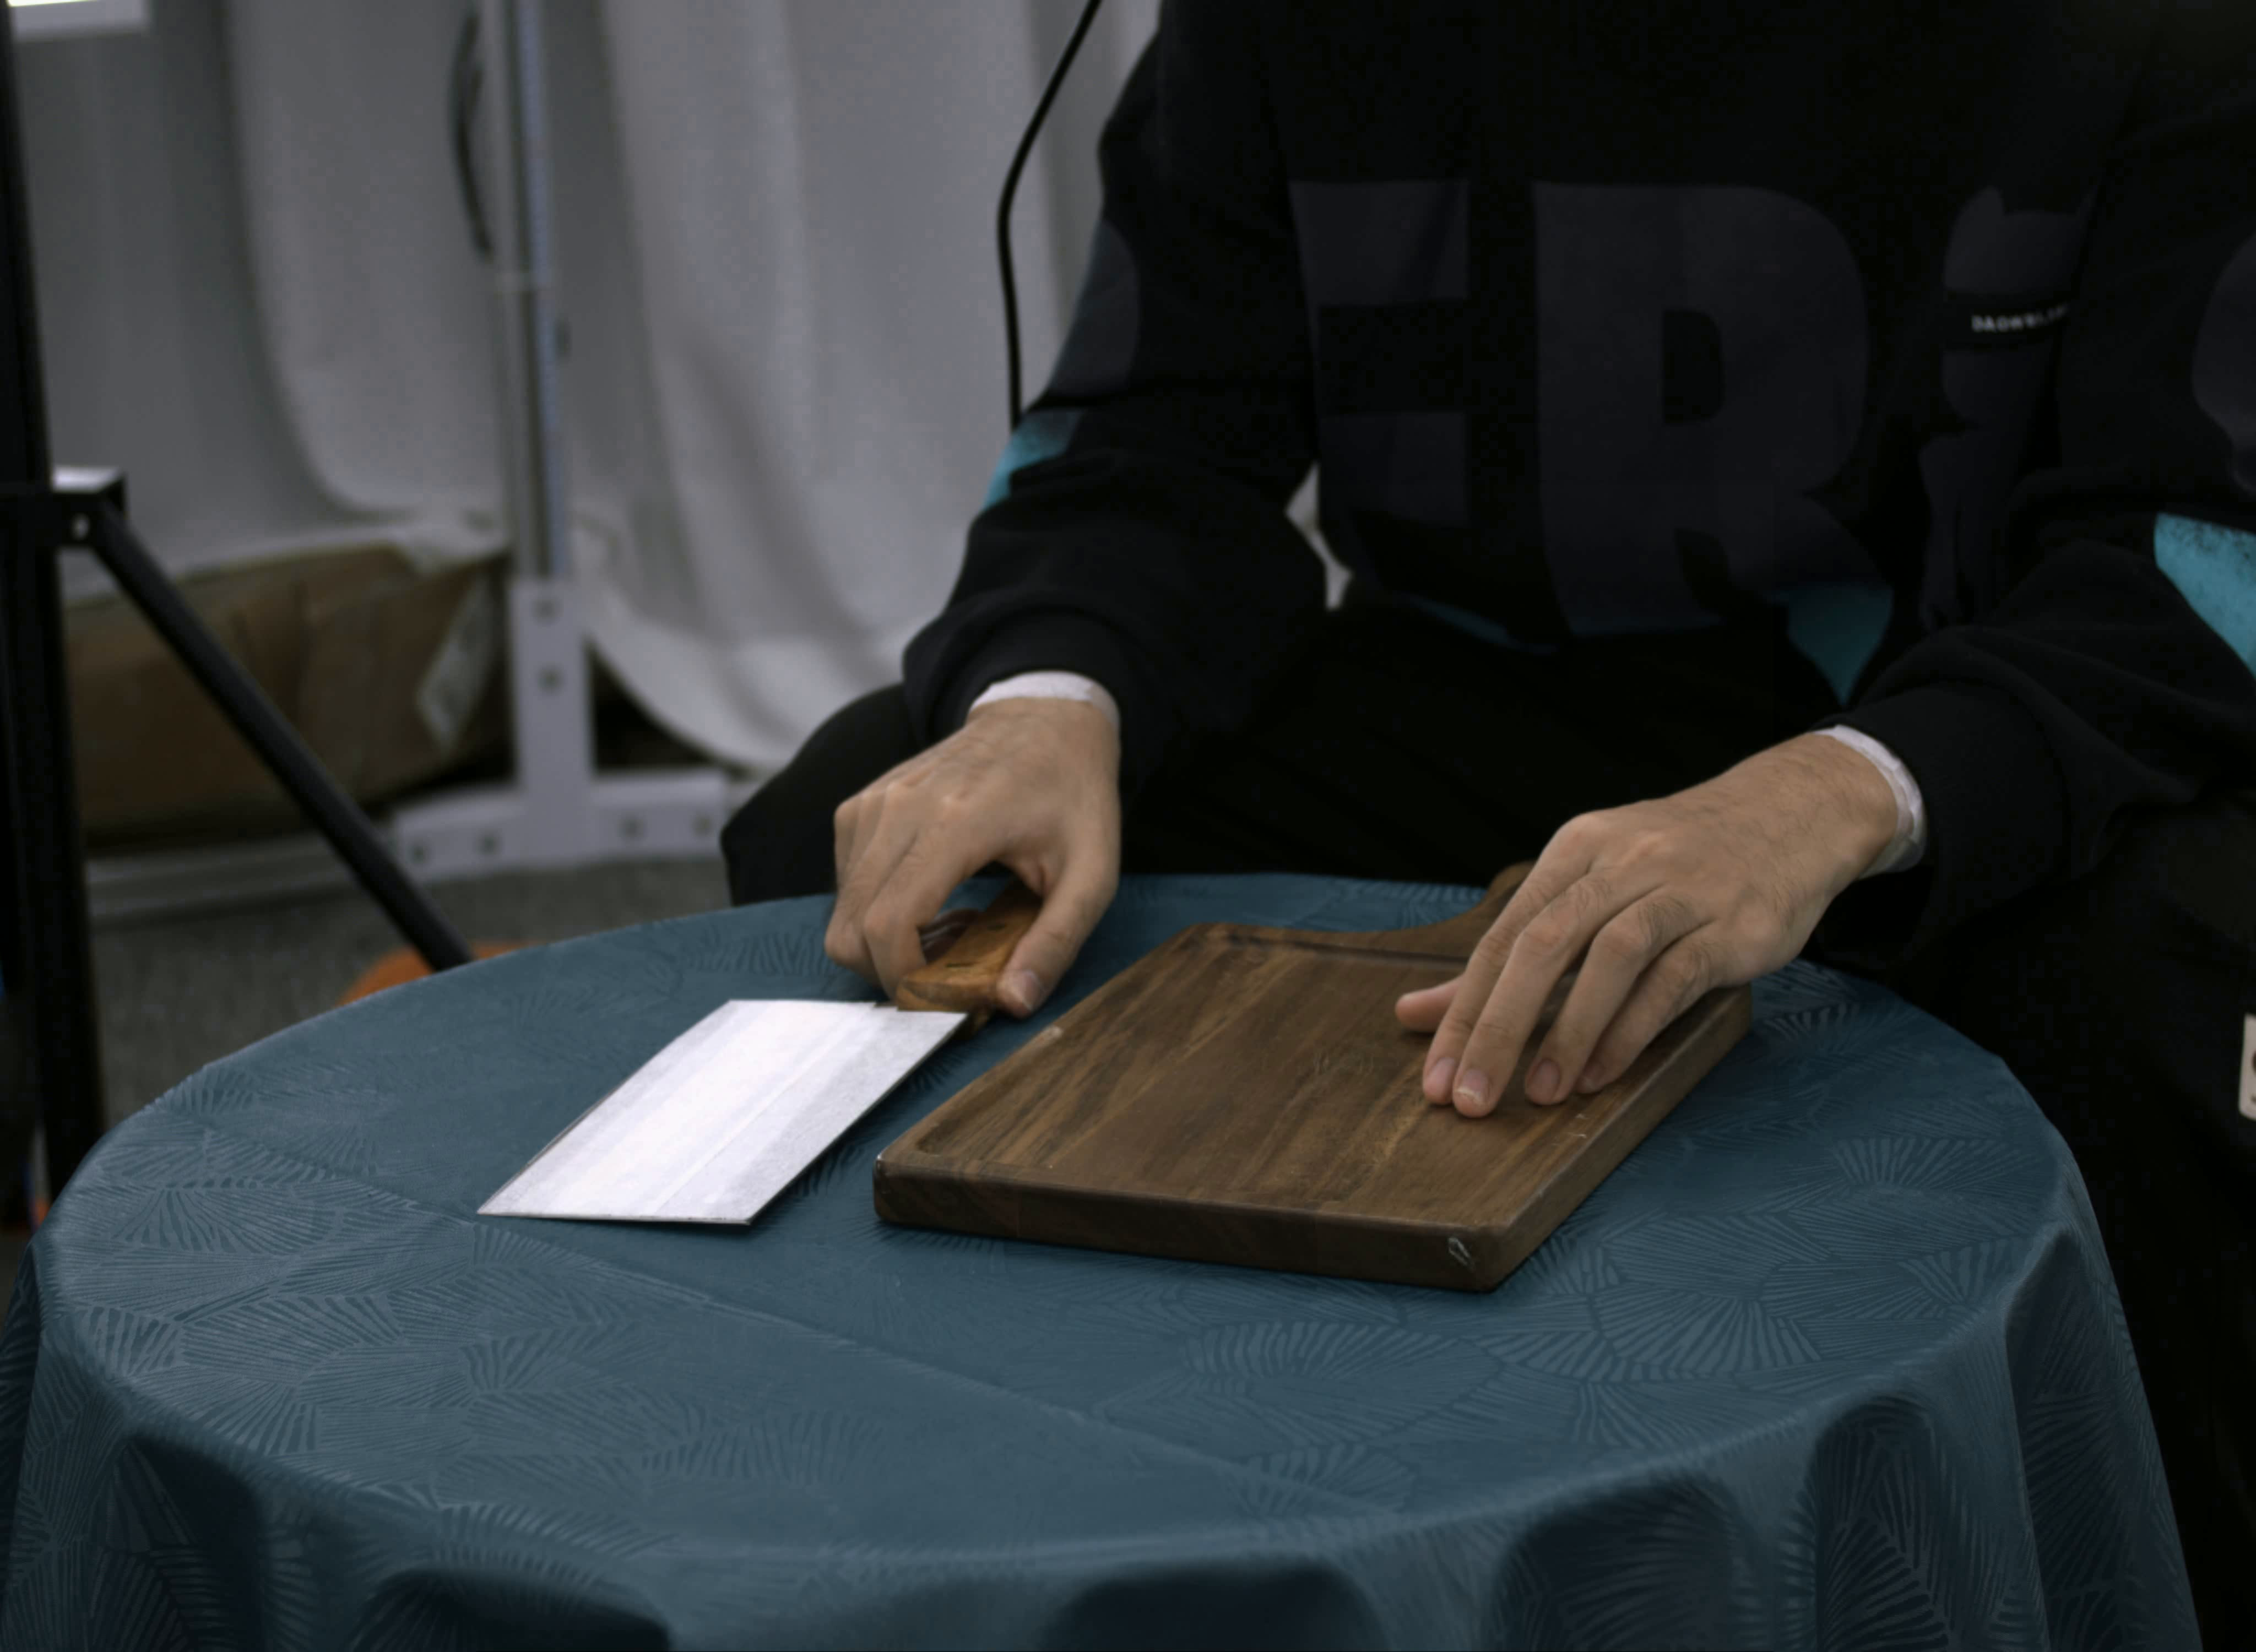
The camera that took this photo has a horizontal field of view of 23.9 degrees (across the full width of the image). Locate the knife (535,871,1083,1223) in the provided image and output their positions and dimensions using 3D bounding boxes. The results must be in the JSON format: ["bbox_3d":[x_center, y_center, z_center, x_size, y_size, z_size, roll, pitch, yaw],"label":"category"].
[{"bbox_3d":[-0.099,0.069,1.686,0.094,0.021,0.302,-1,17,21],"label":"knife"}]

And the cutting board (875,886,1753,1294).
[{"bbox_3d":[0.081,0.072,1.647,0.204,0.023,0.347,5,16,23],"label":"cutting board"}]
